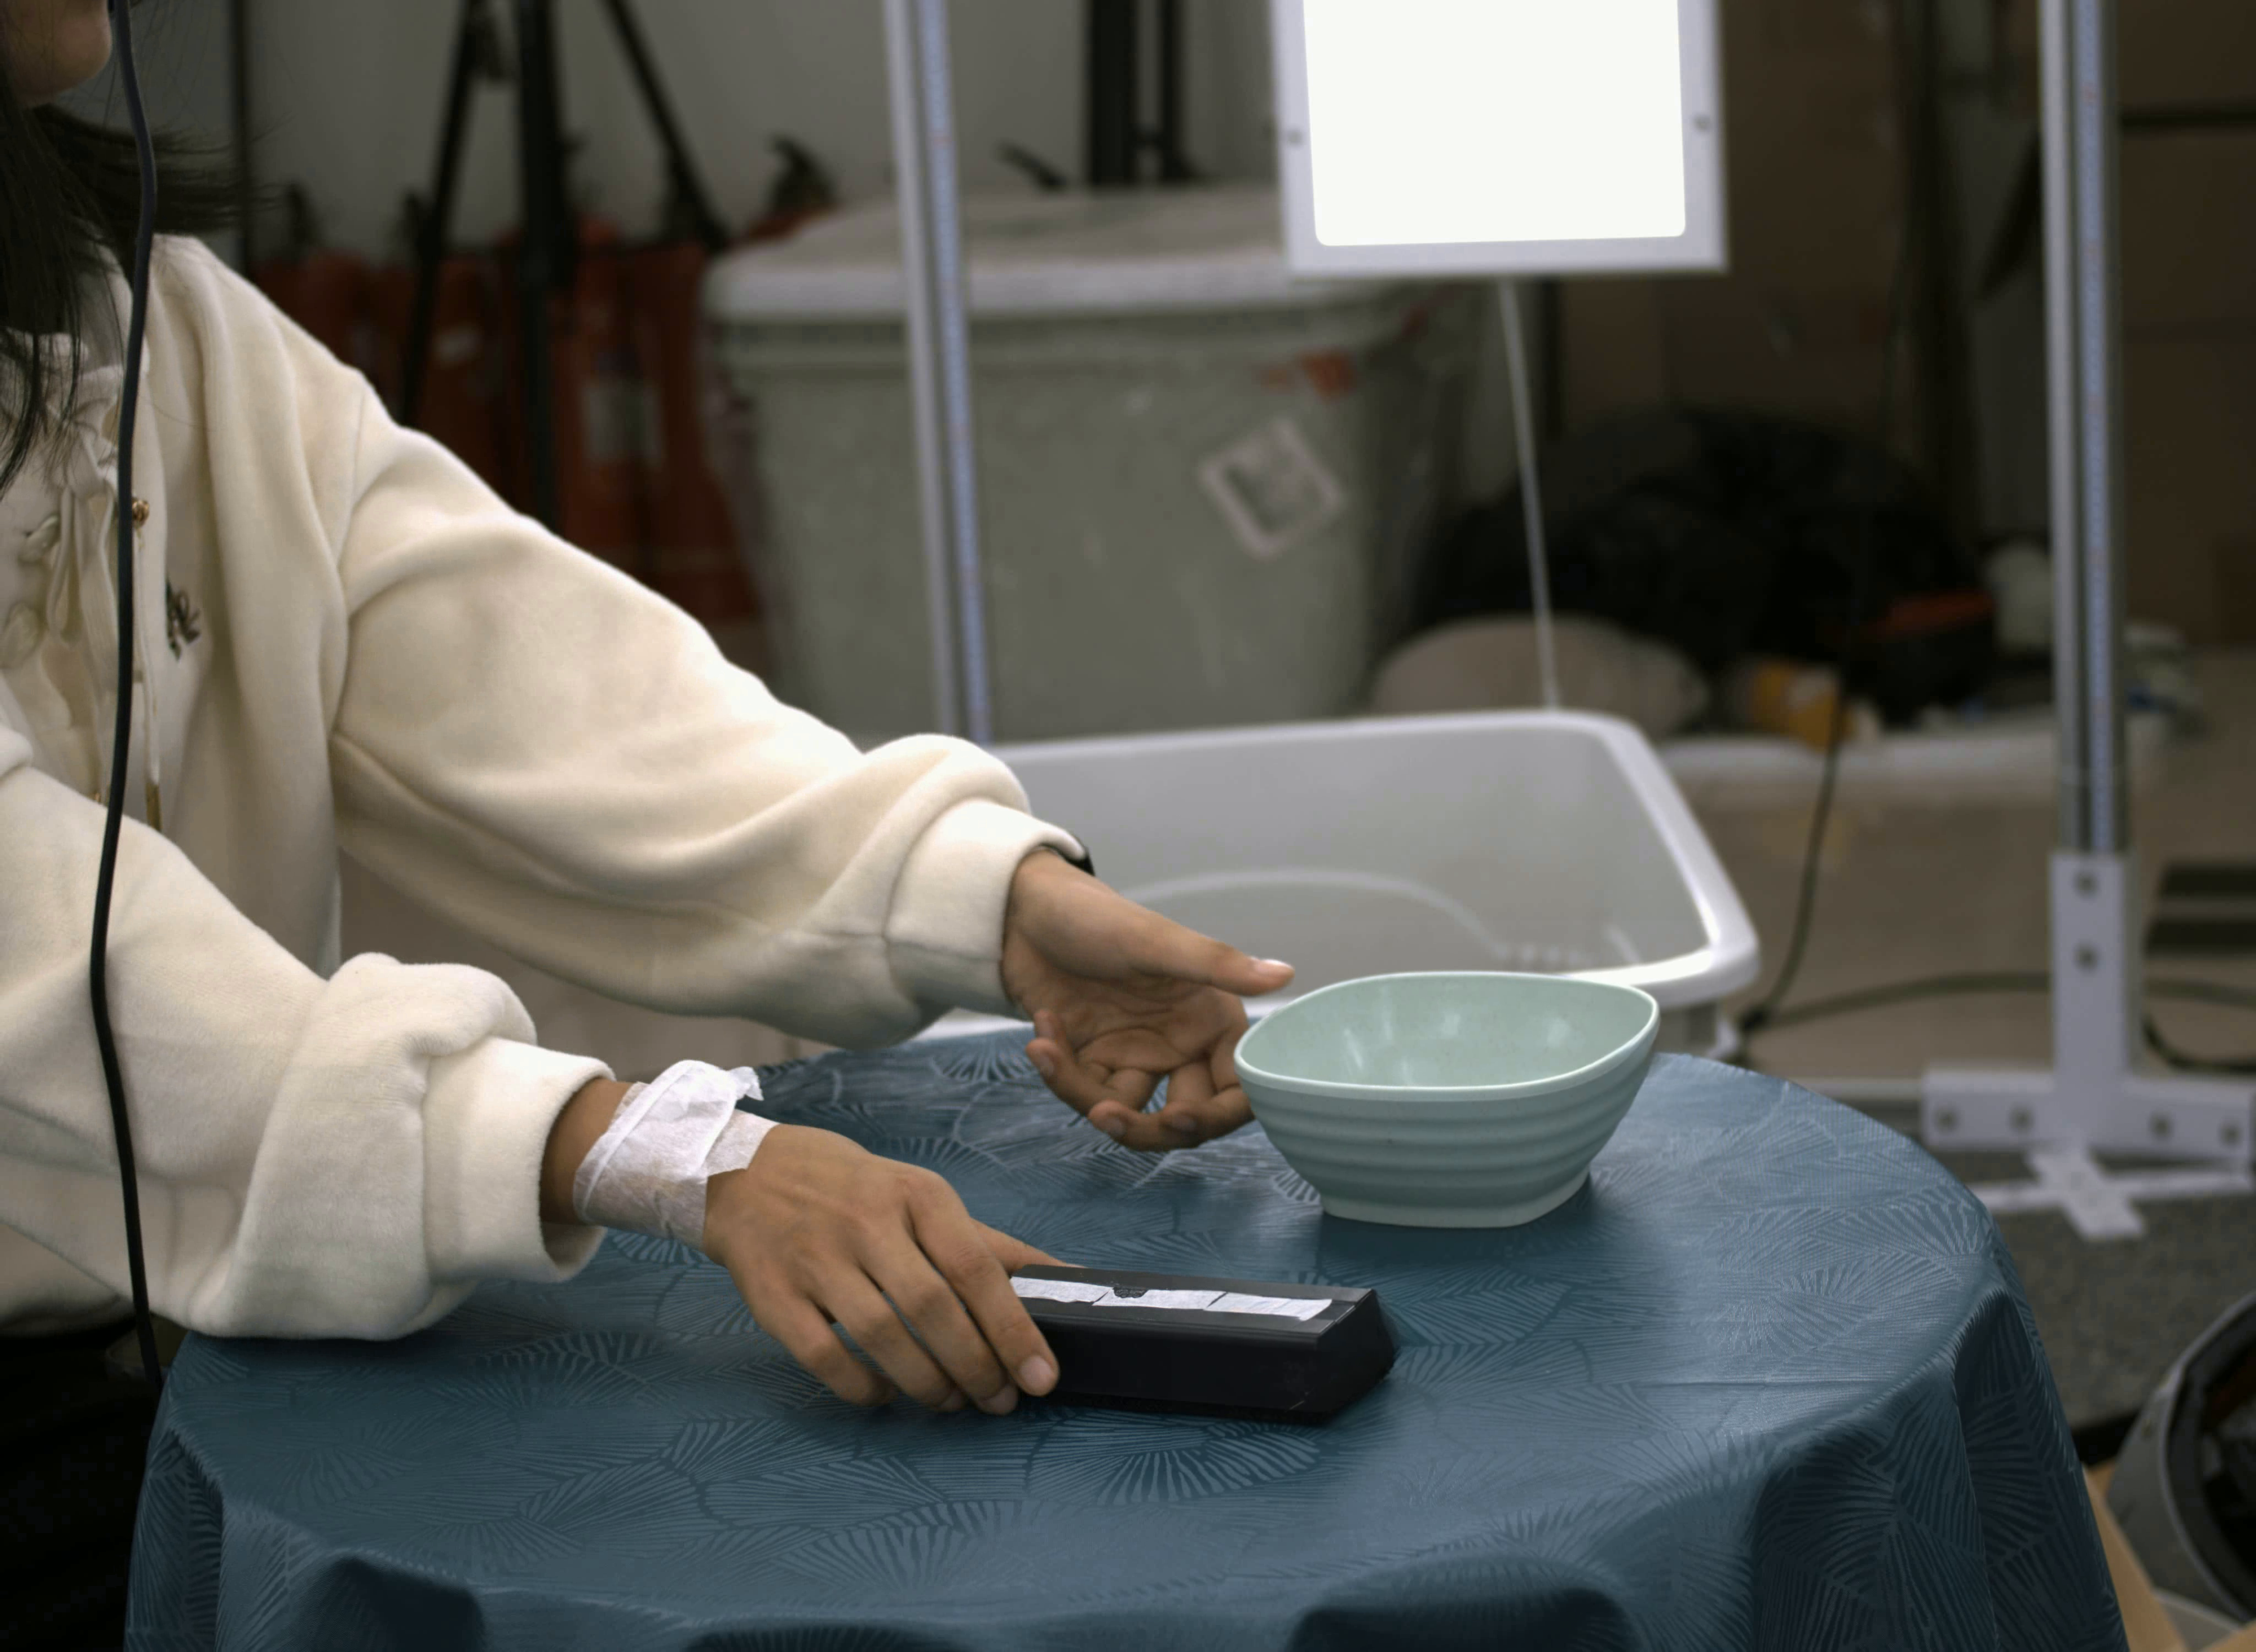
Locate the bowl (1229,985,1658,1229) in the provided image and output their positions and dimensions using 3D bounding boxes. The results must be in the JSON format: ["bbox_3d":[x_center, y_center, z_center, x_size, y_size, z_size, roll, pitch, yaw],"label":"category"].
[{"bbox_3d":[0.109,0.097,1.861,0.151,0.059,0.151,-3,11,-1],"label":"bowl"}]

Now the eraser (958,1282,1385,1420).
[{"bbox_3d":[0.015,0.161,1.697,0.127,0.030,0.052,-1,12,26],"label":"eraser"}]
